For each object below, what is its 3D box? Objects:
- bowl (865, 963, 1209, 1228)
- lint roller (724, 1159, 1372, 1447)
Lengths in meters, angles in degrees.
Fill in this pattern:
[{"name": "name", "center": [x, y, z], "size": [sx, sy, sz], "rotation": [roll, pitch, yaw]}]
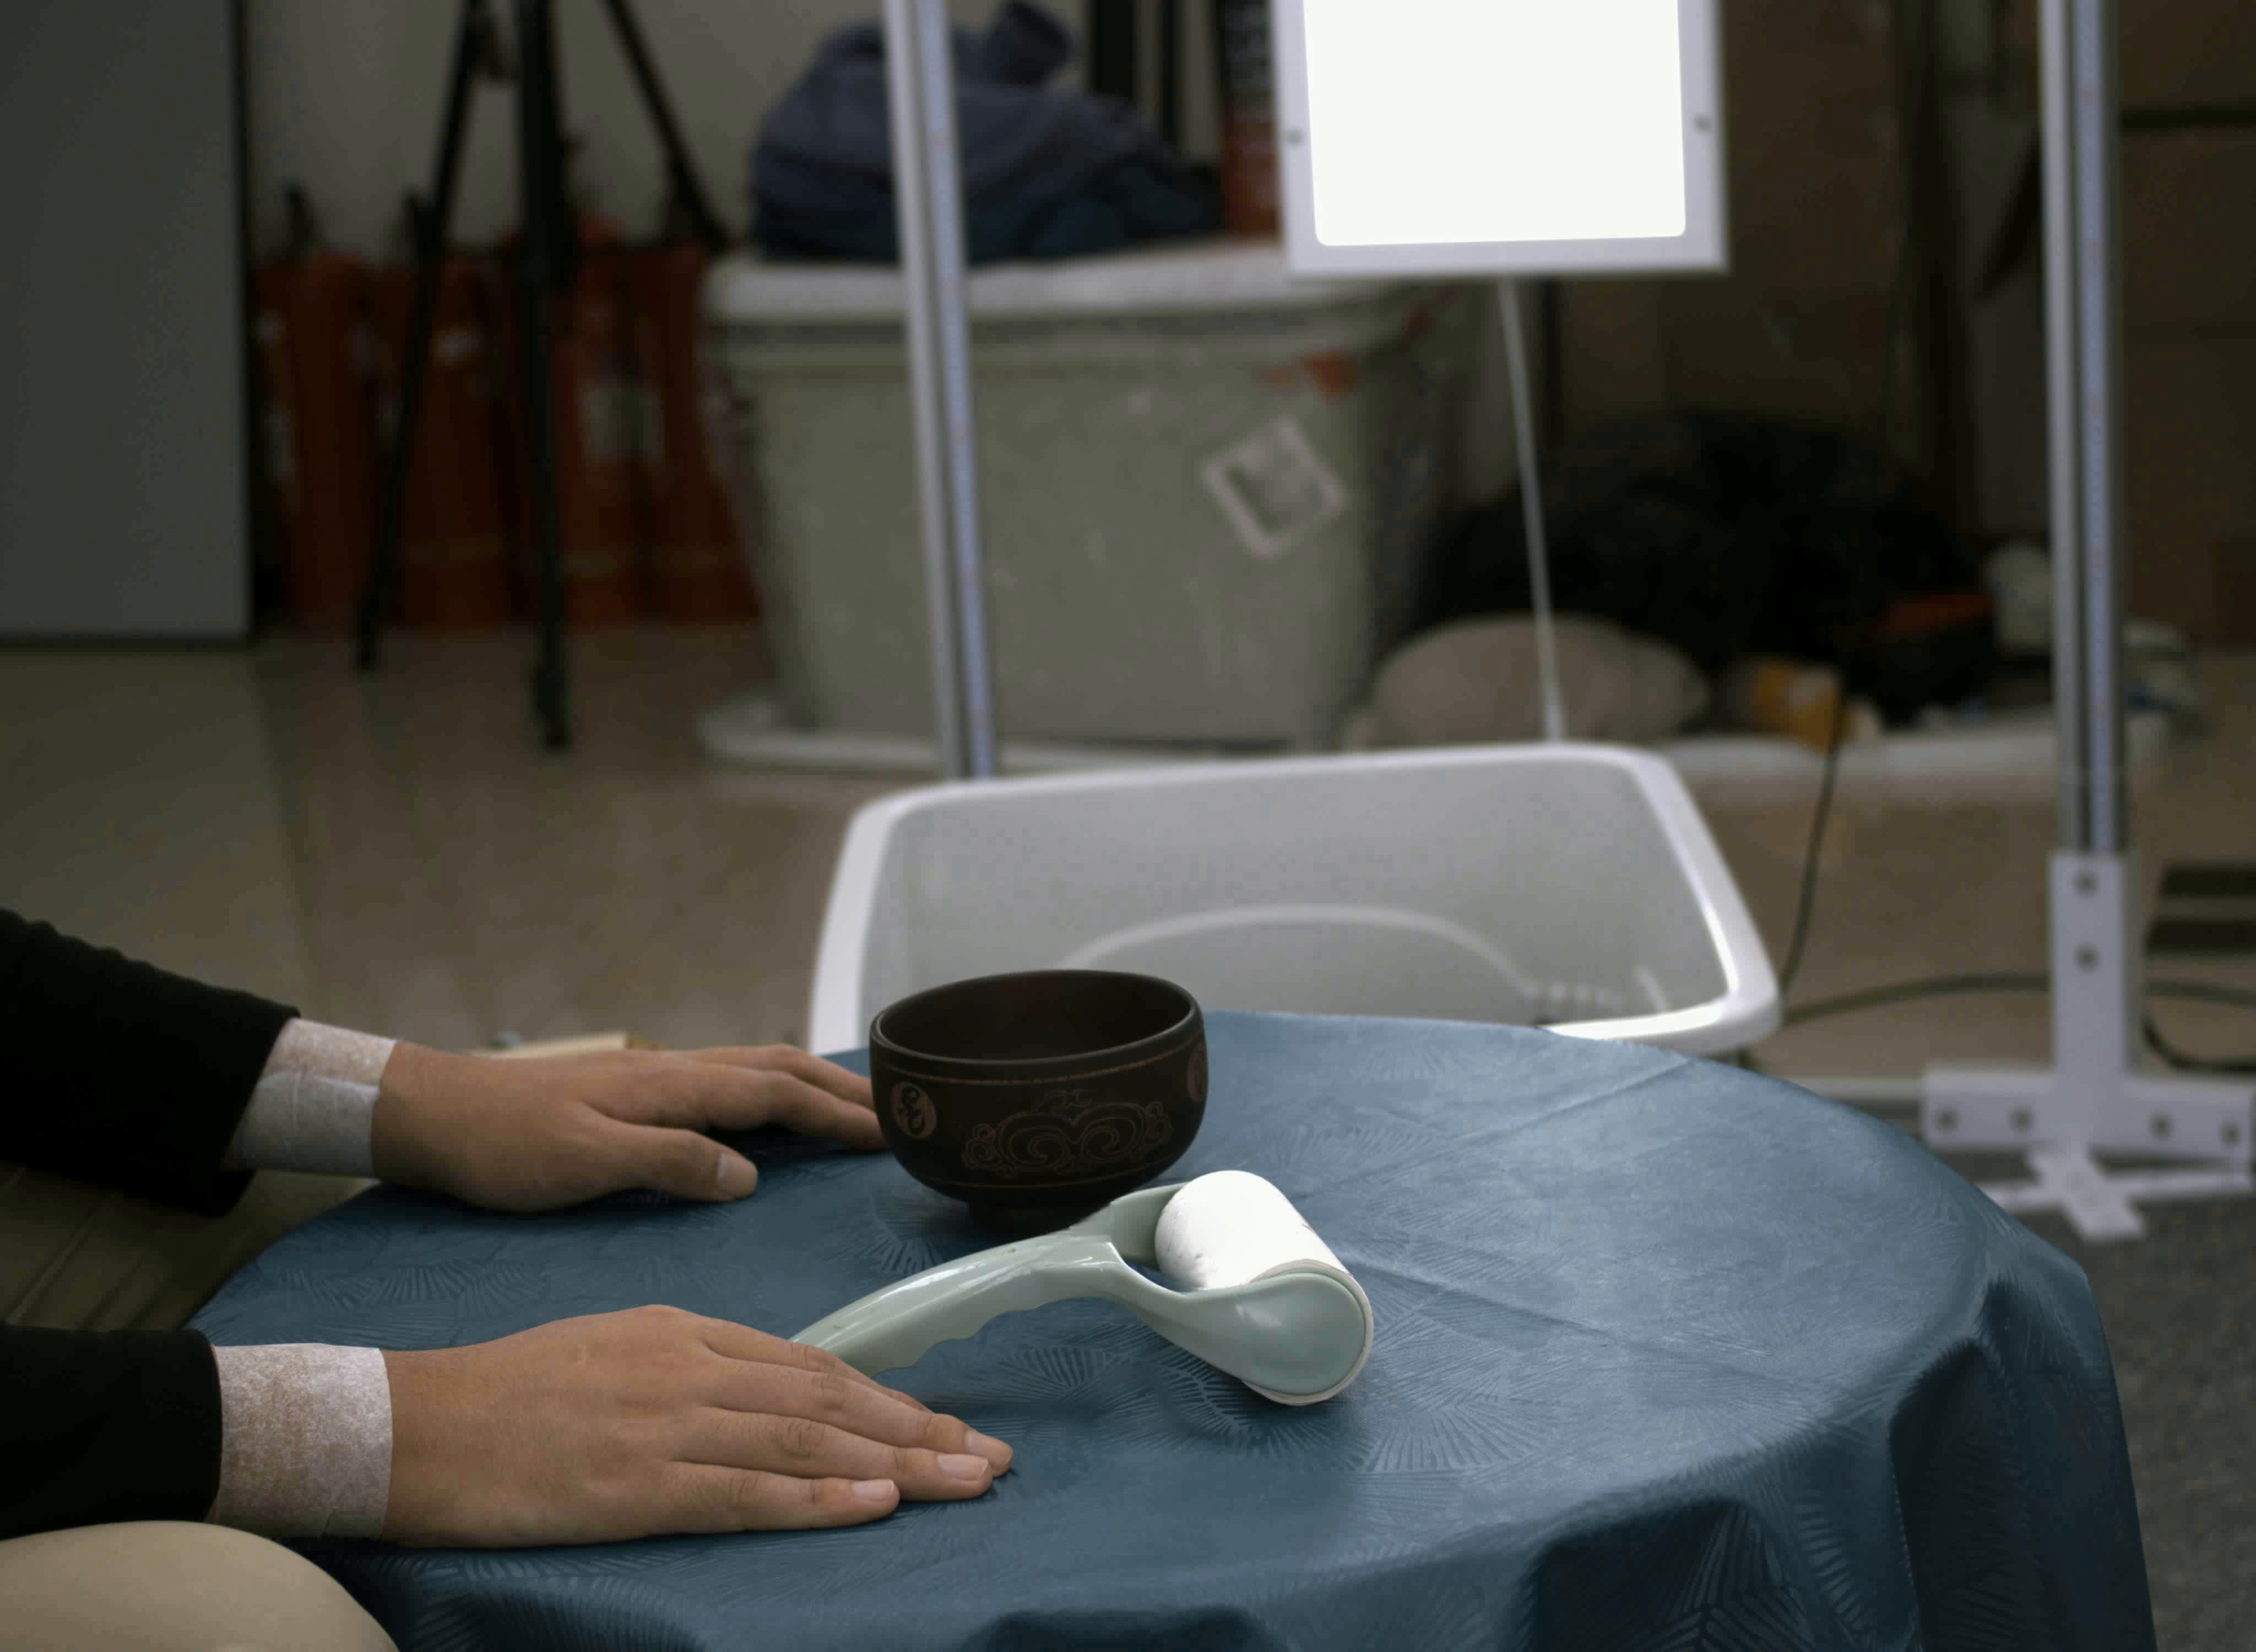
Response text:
[{"name": "bowl", "center": [-0.029, 0.096, 1.884], "size": [0.118, 0.070, 0.118], "rotation": [-6, 15, 0]}, {"name": "lint roller", "center": [-0.031, 0.152, 1.714], "size": [0.195, 0.048, 0.117], "rotation": [-9, 15, -9]}]
